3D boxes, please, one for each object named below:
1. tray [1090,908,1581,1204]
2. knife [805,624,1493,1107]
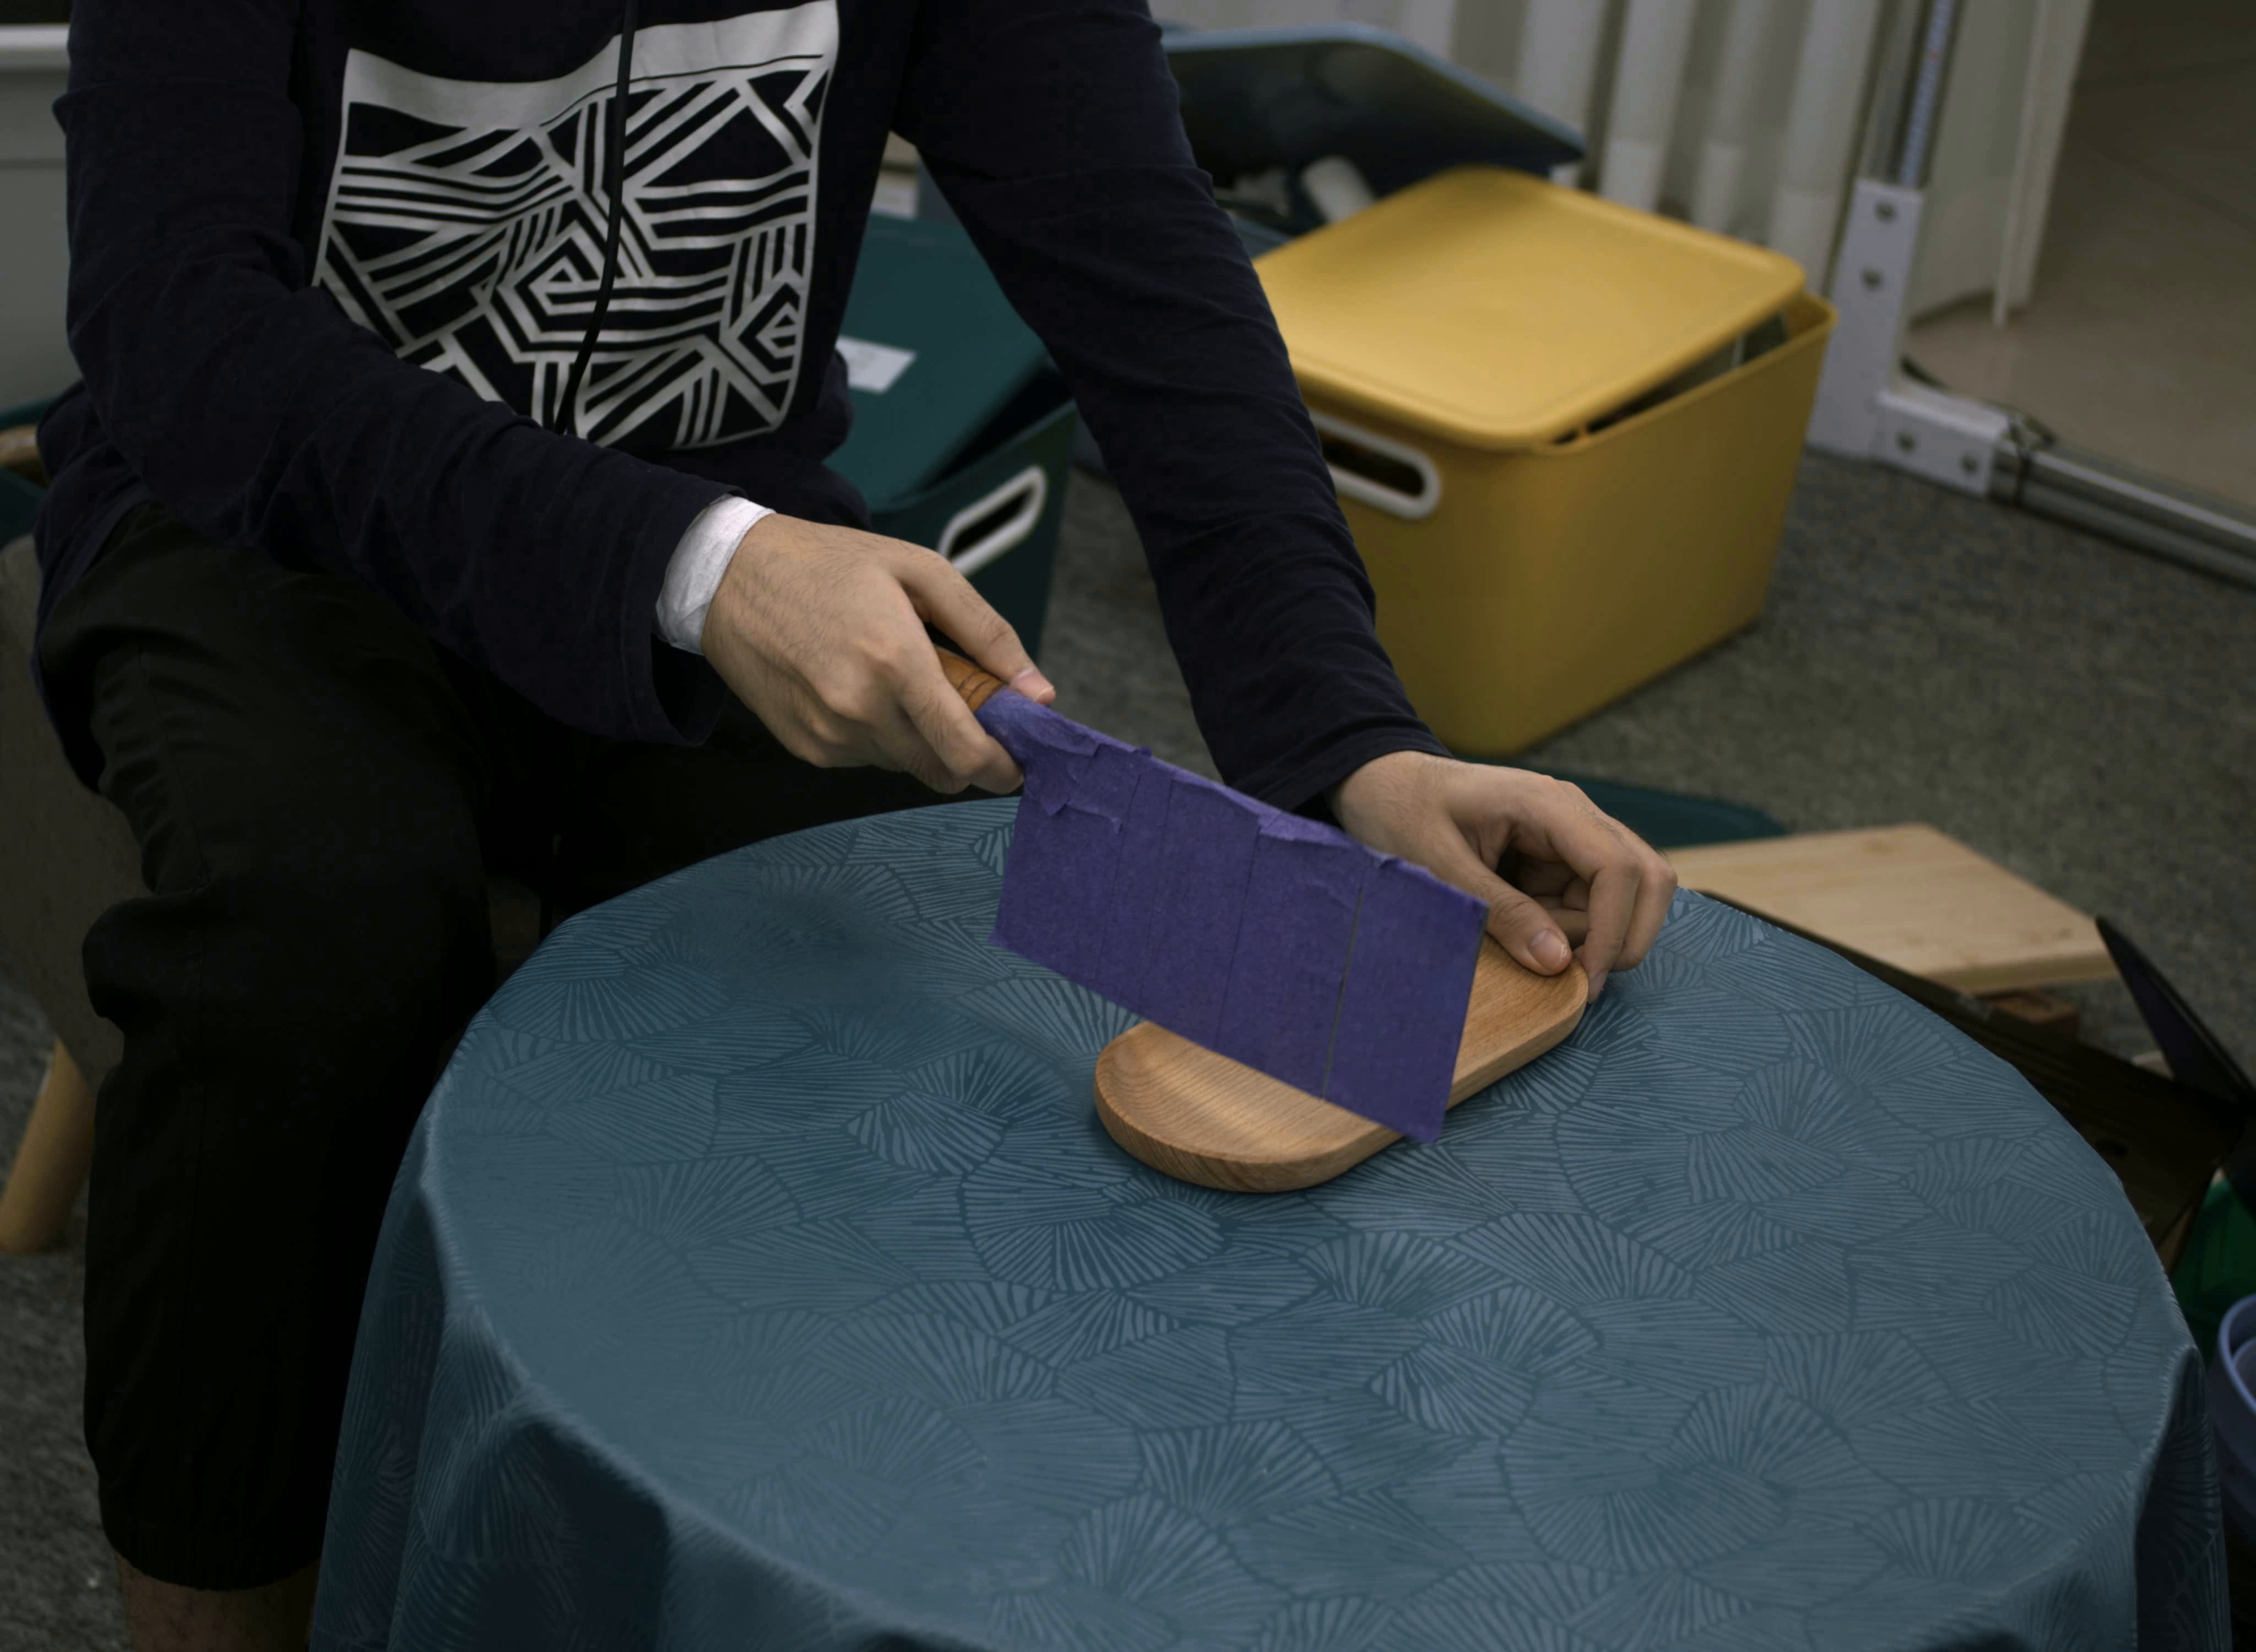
[{"bbox_3d":[0.076,0.079,1.894,0.102,0.020,0.230,22,33,31],"label":"tray"},{"bbox_3d":[-0.003,0.014,1.866,0.317,0.104,0.032,23,17,40],"label":"knife"}]
